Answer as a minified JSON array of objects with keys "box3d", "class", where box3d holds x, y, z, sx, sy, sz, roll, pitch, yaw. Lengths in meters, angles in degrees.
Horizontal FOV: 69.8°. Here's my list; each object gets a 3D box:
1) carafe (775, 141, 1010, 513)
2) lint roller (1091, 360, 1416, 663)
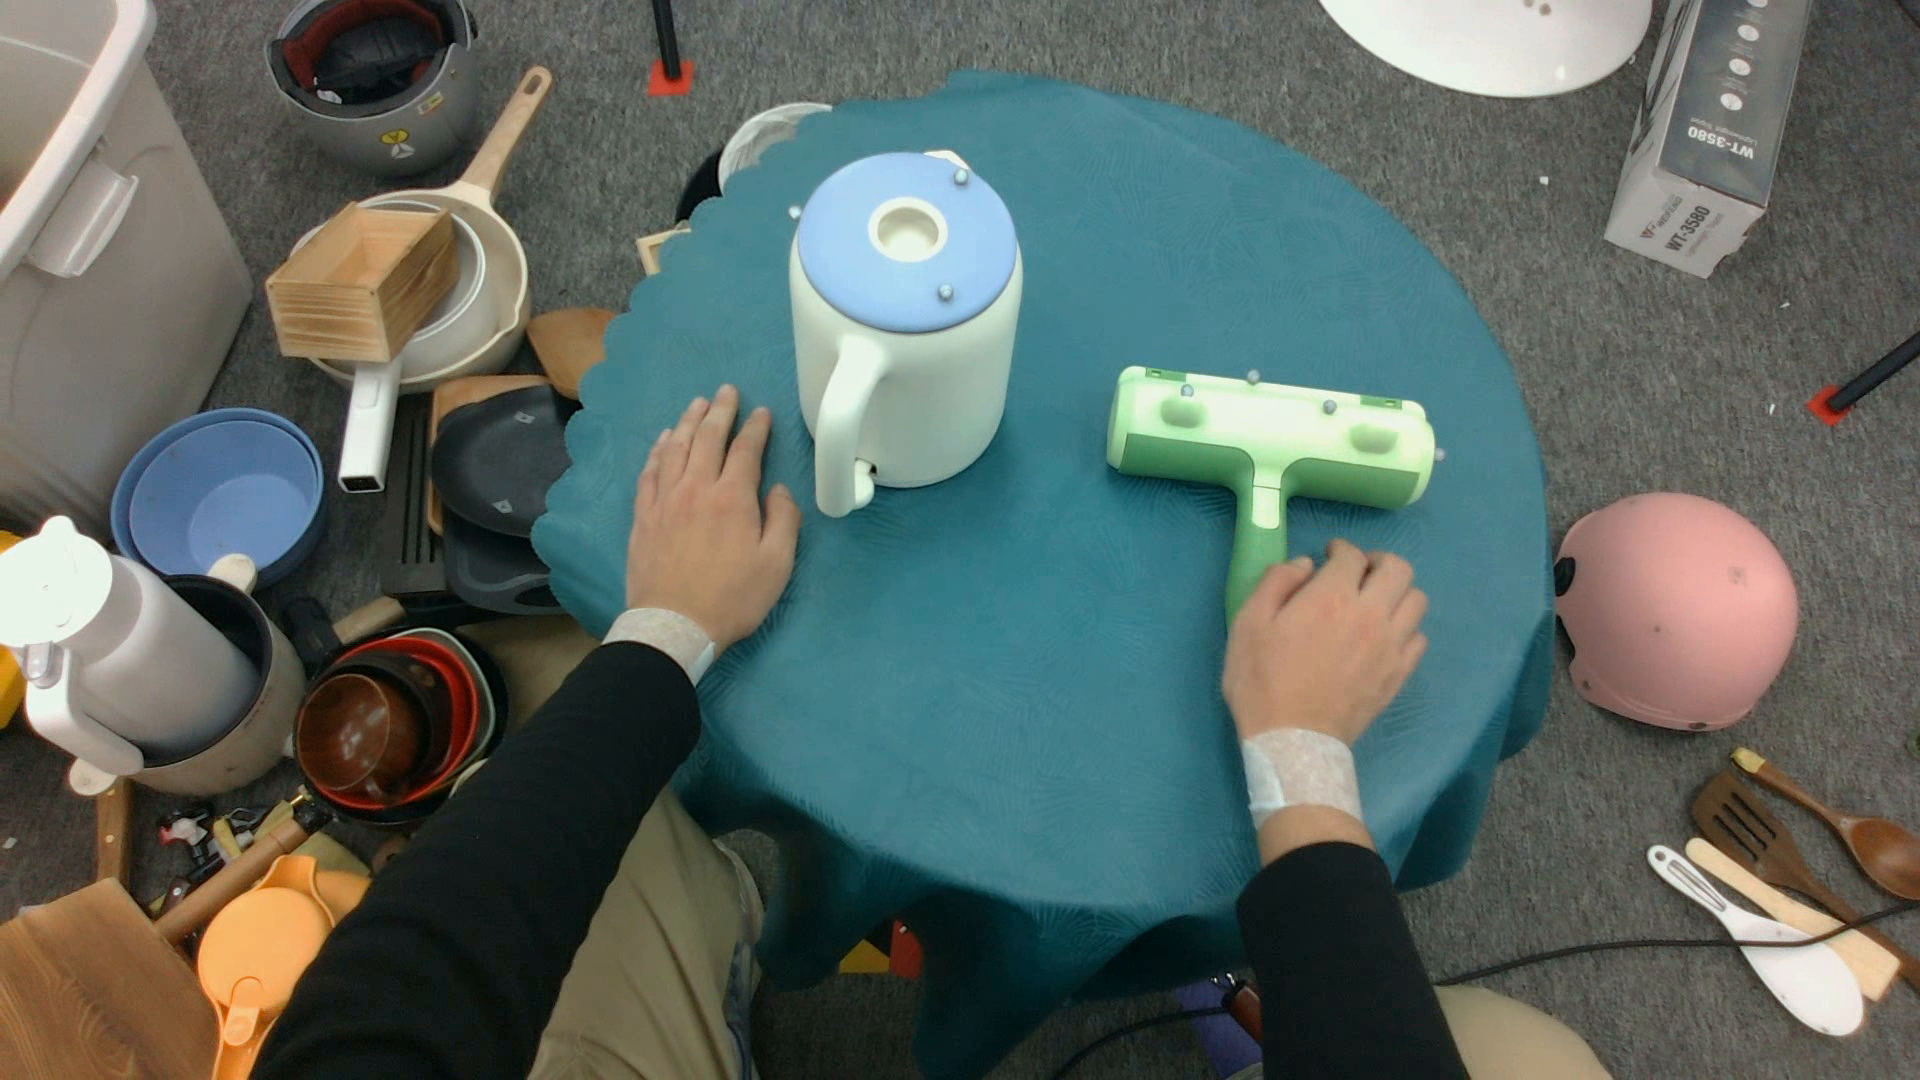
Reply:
[{"box3d":[-0.049,-0.109,0.801,0.132,0.182,0.192,18,66,5],"class":"carafe"},{"box3d":[0.176,-0.022,0.830,0.198,0.082,0.184,8,61,0],"class":"lint roller"}]
